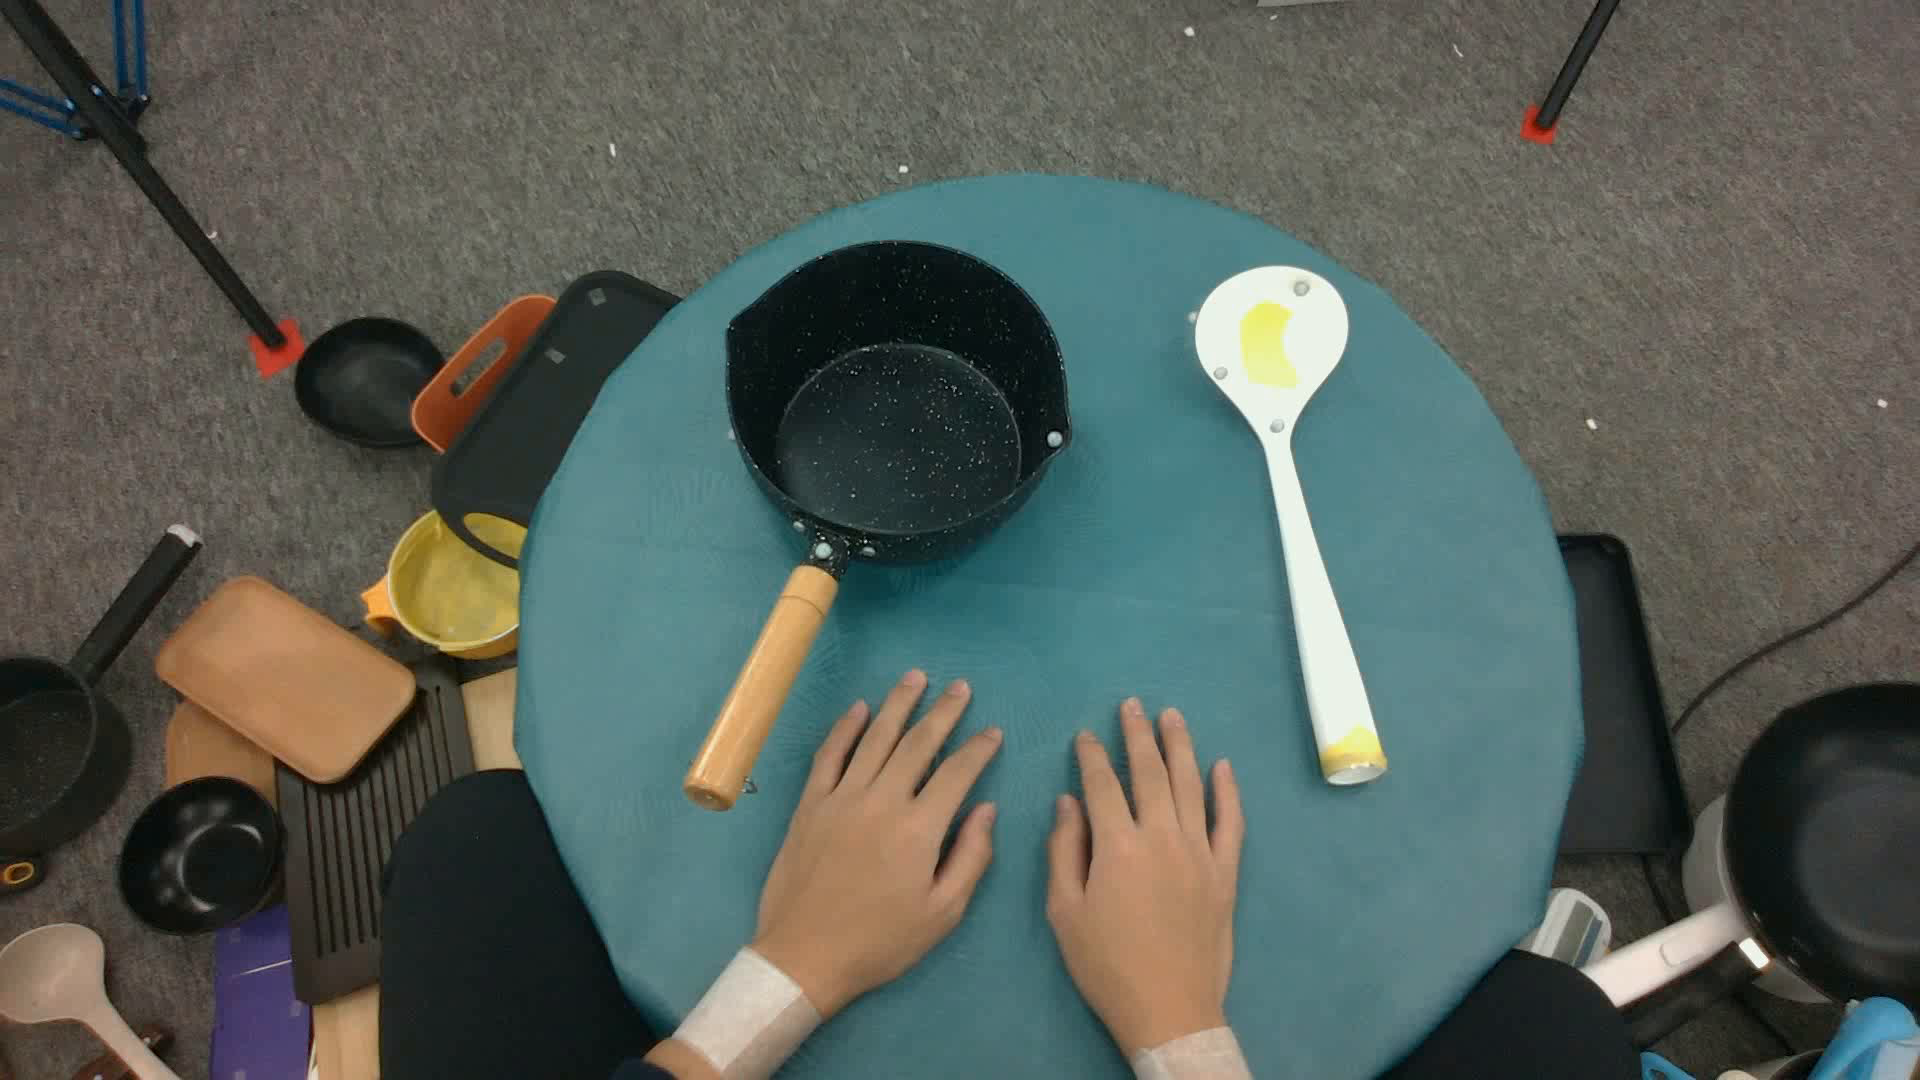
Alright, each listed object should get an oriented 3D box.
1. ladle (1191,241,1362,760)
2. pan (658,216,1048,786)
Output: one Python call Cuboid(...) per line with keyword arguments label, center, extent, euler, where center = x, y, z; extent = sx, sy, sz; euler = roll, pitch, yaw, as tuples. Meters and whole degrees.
Cuboid(label="ladle", center=(0.189, -0.027, 0.777), extent=(0.090, 0.069, 0.294), euler=(-1, 67, -10))
Cuboid(label="pan", center=(-0.074, -0.017, 0.738), extent=(0.207, 0.108, 0.344), euler=(17, 65, 4))
